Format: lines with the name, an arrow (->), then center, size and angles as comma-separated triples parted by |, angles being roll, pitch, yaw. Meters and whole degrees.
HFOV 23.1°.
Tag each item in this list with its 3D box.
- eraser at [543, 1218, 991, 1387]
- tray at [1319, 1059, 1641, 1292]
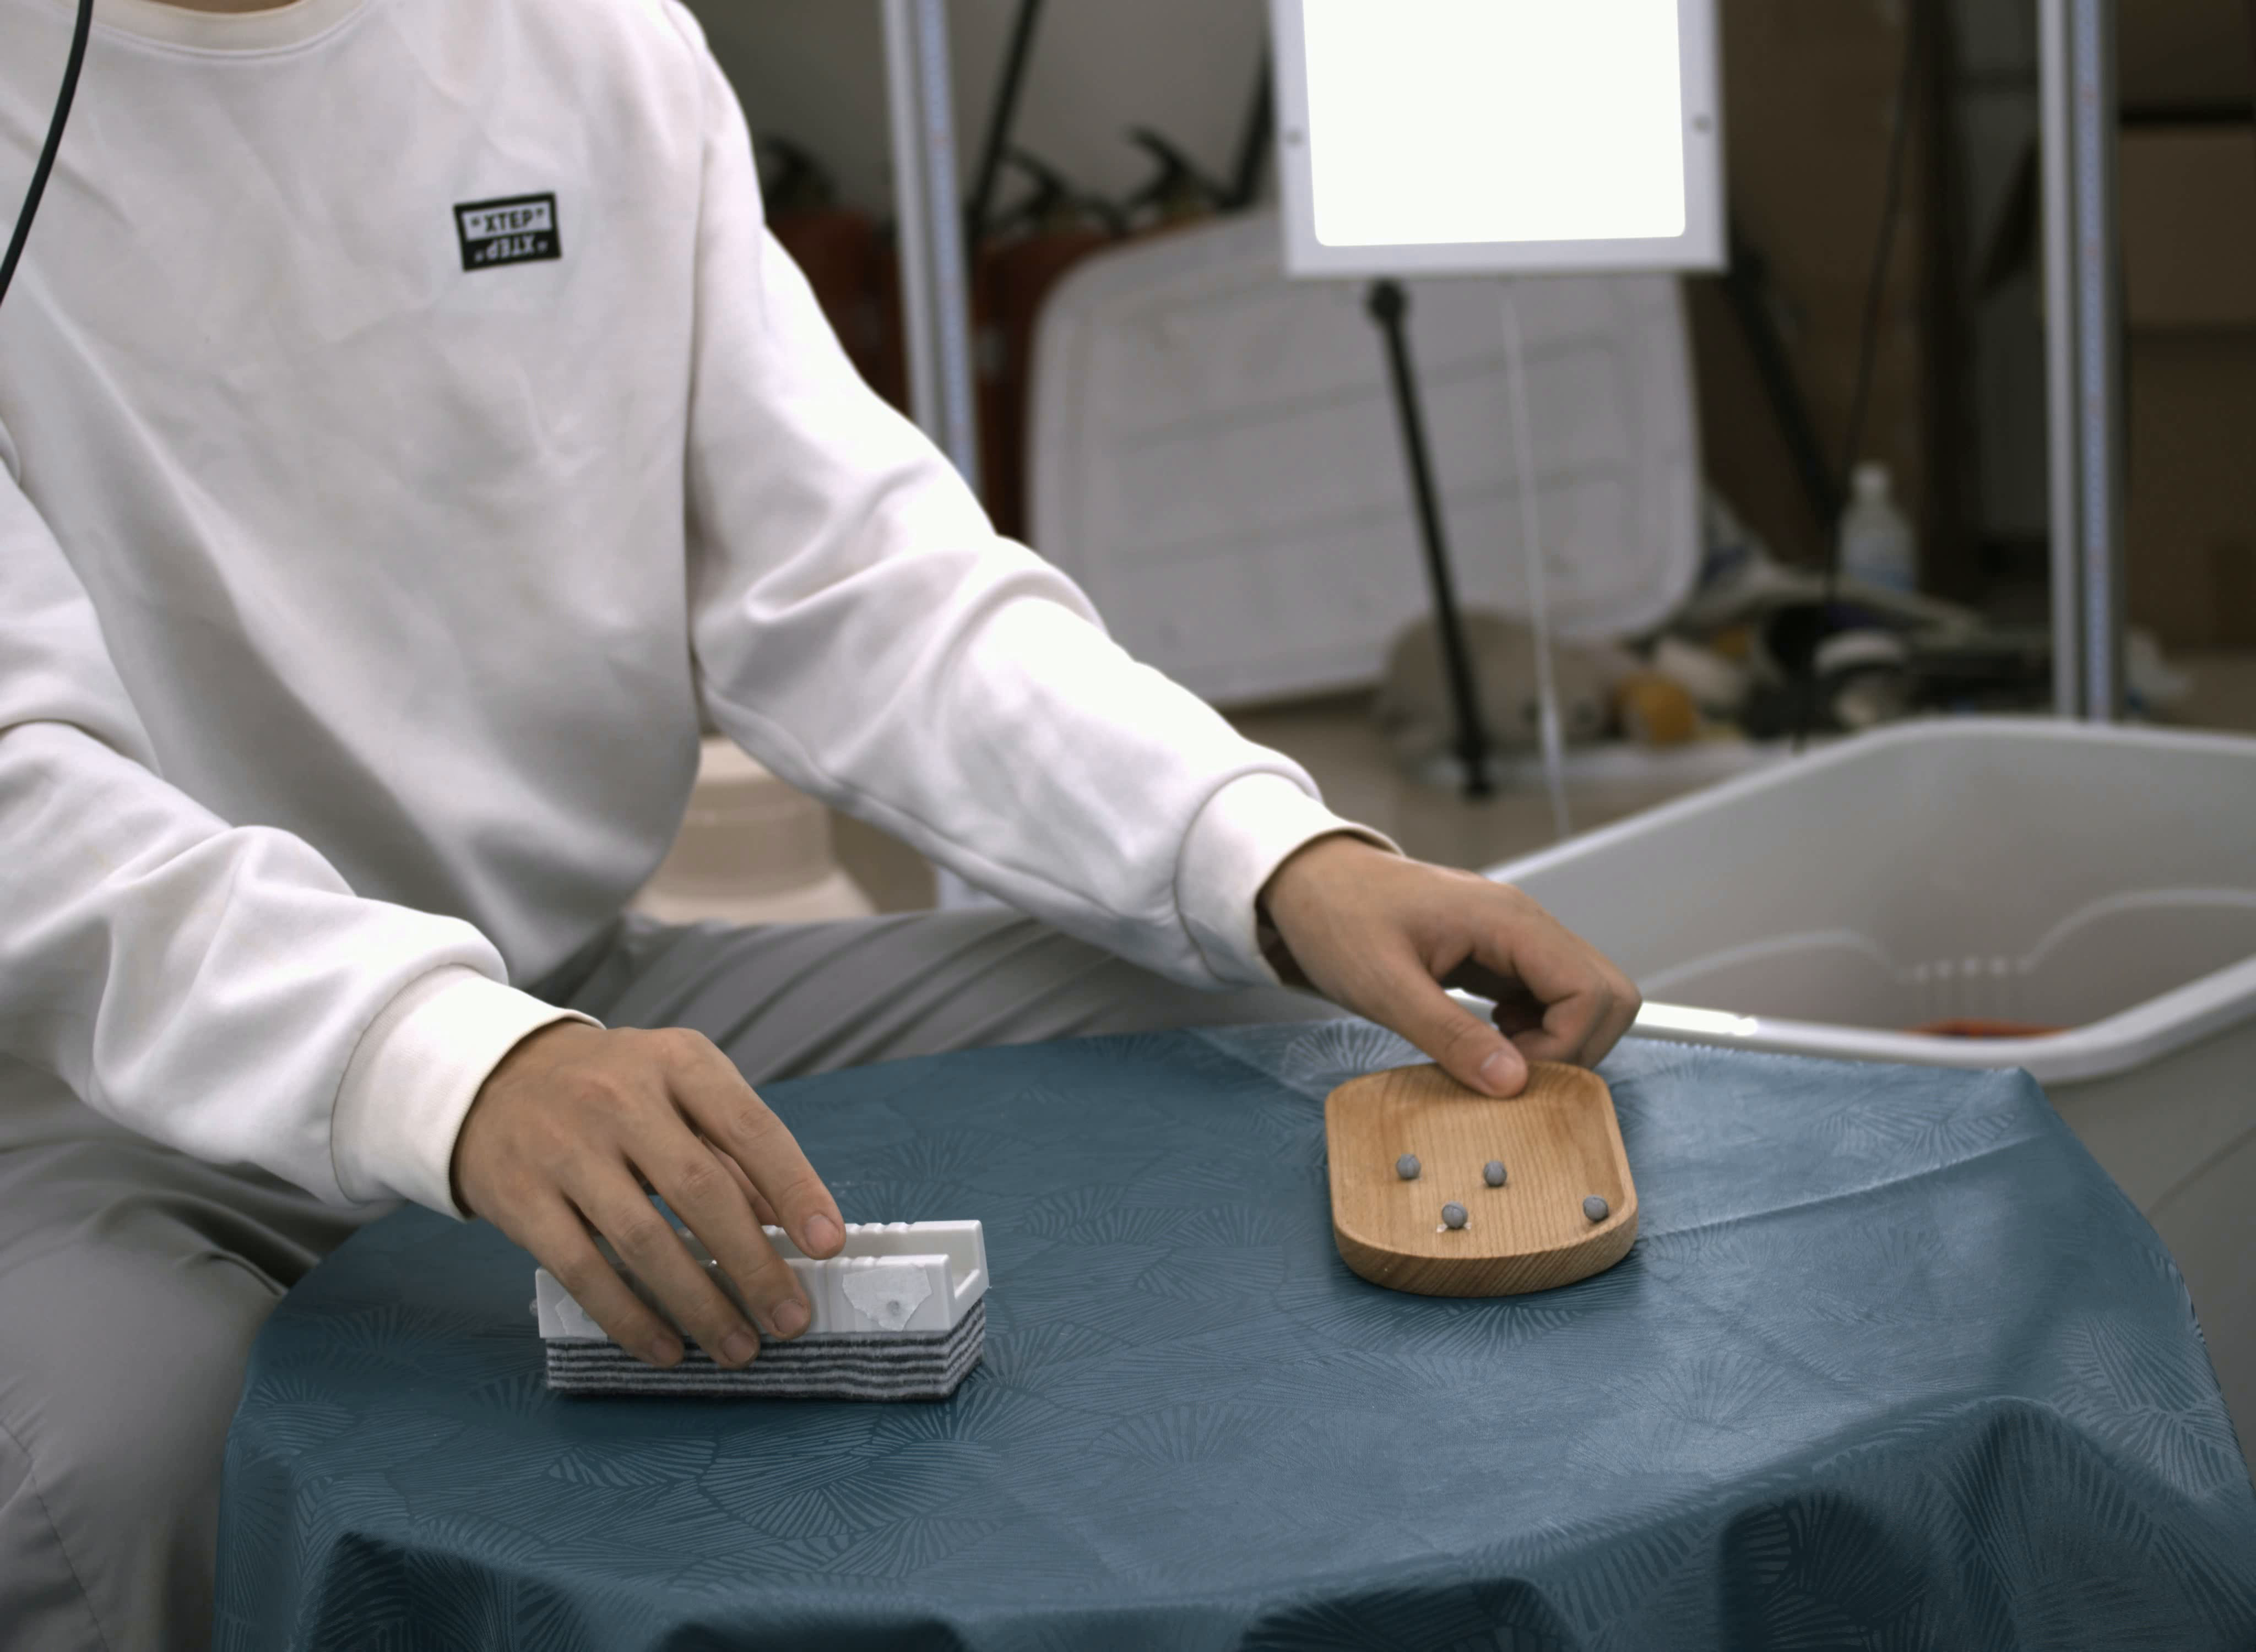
eraser -> -0.113, 0.150, 1.738 | 0.135, 0.047, 0.049 | -1, 7, 13
tray -> 0.118, 0.116, 1.864 | 0.101, 0.020, 0.230 | -4, 12, 1
